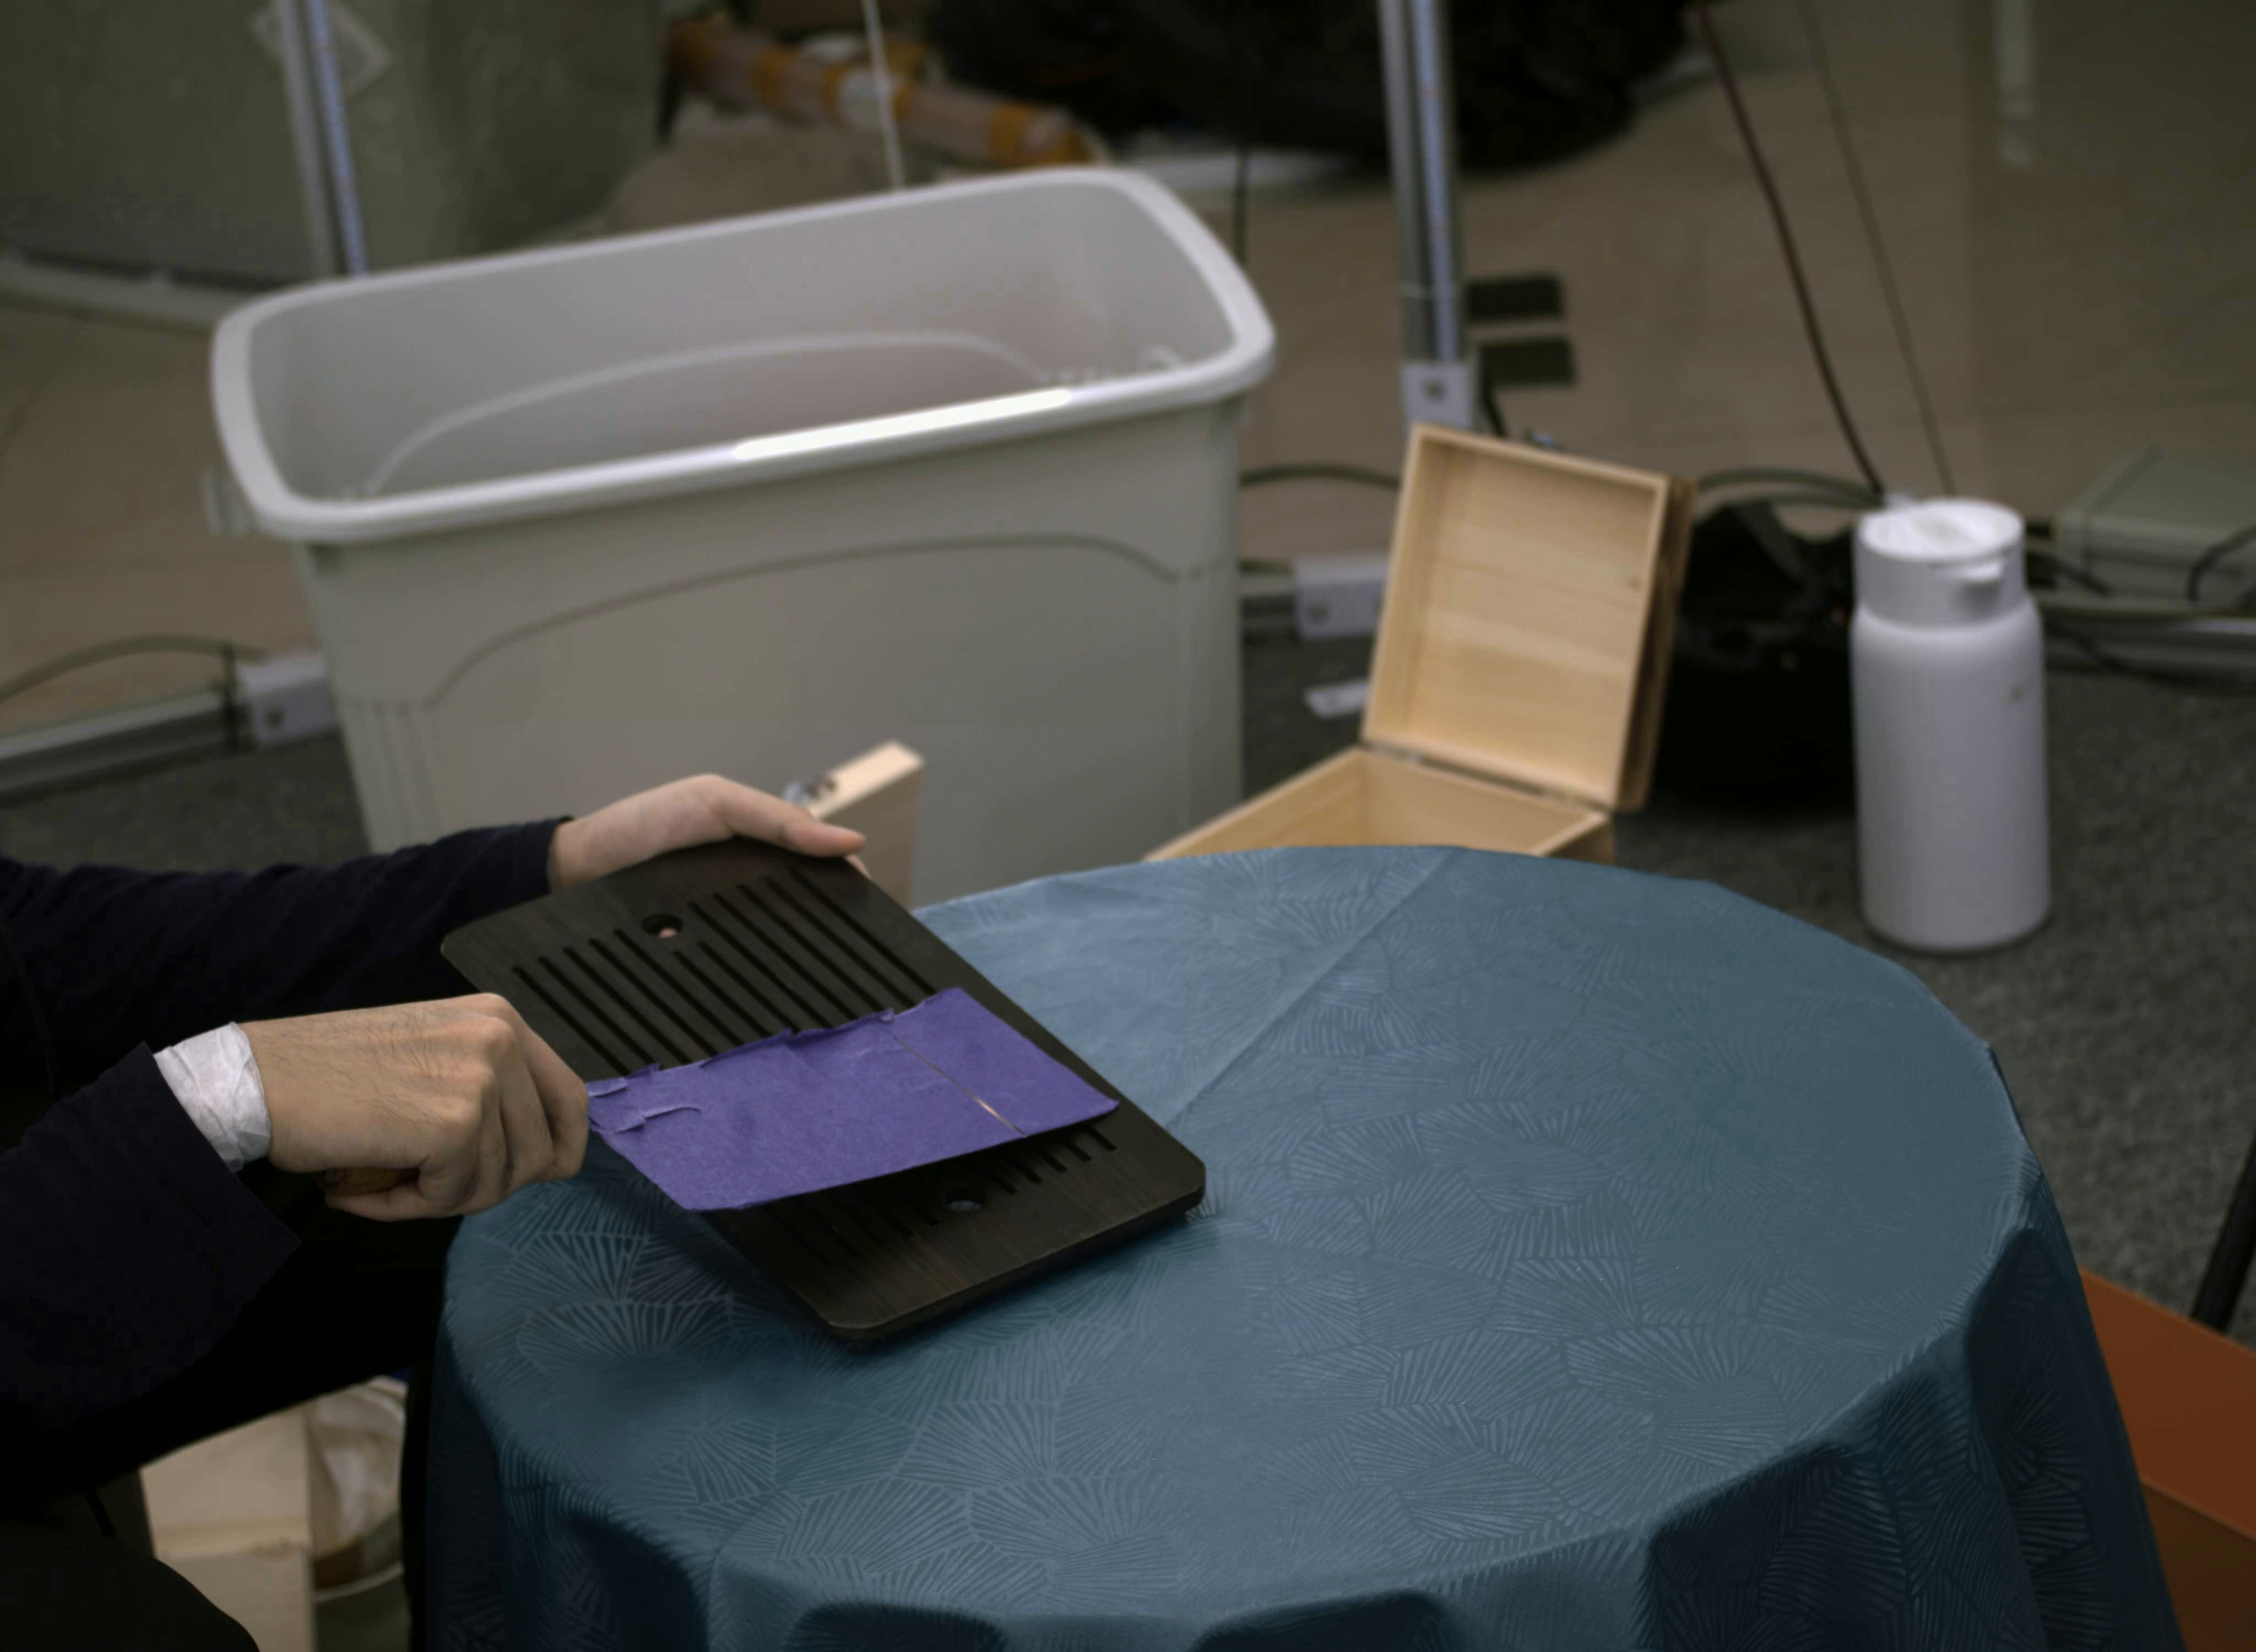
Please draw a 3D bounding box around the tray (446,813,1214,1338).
[{"bbox_3d":[-0.119,0.093,2.191,0.169,0.019,0.302,-22,40,-29],"label":"tray"}]

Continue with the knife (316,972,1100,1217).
[{"bbox_3d":[-0.146,0.107,2.086,0.313,0.033,0.102,-15,37,-40],"label":"knife"}]
